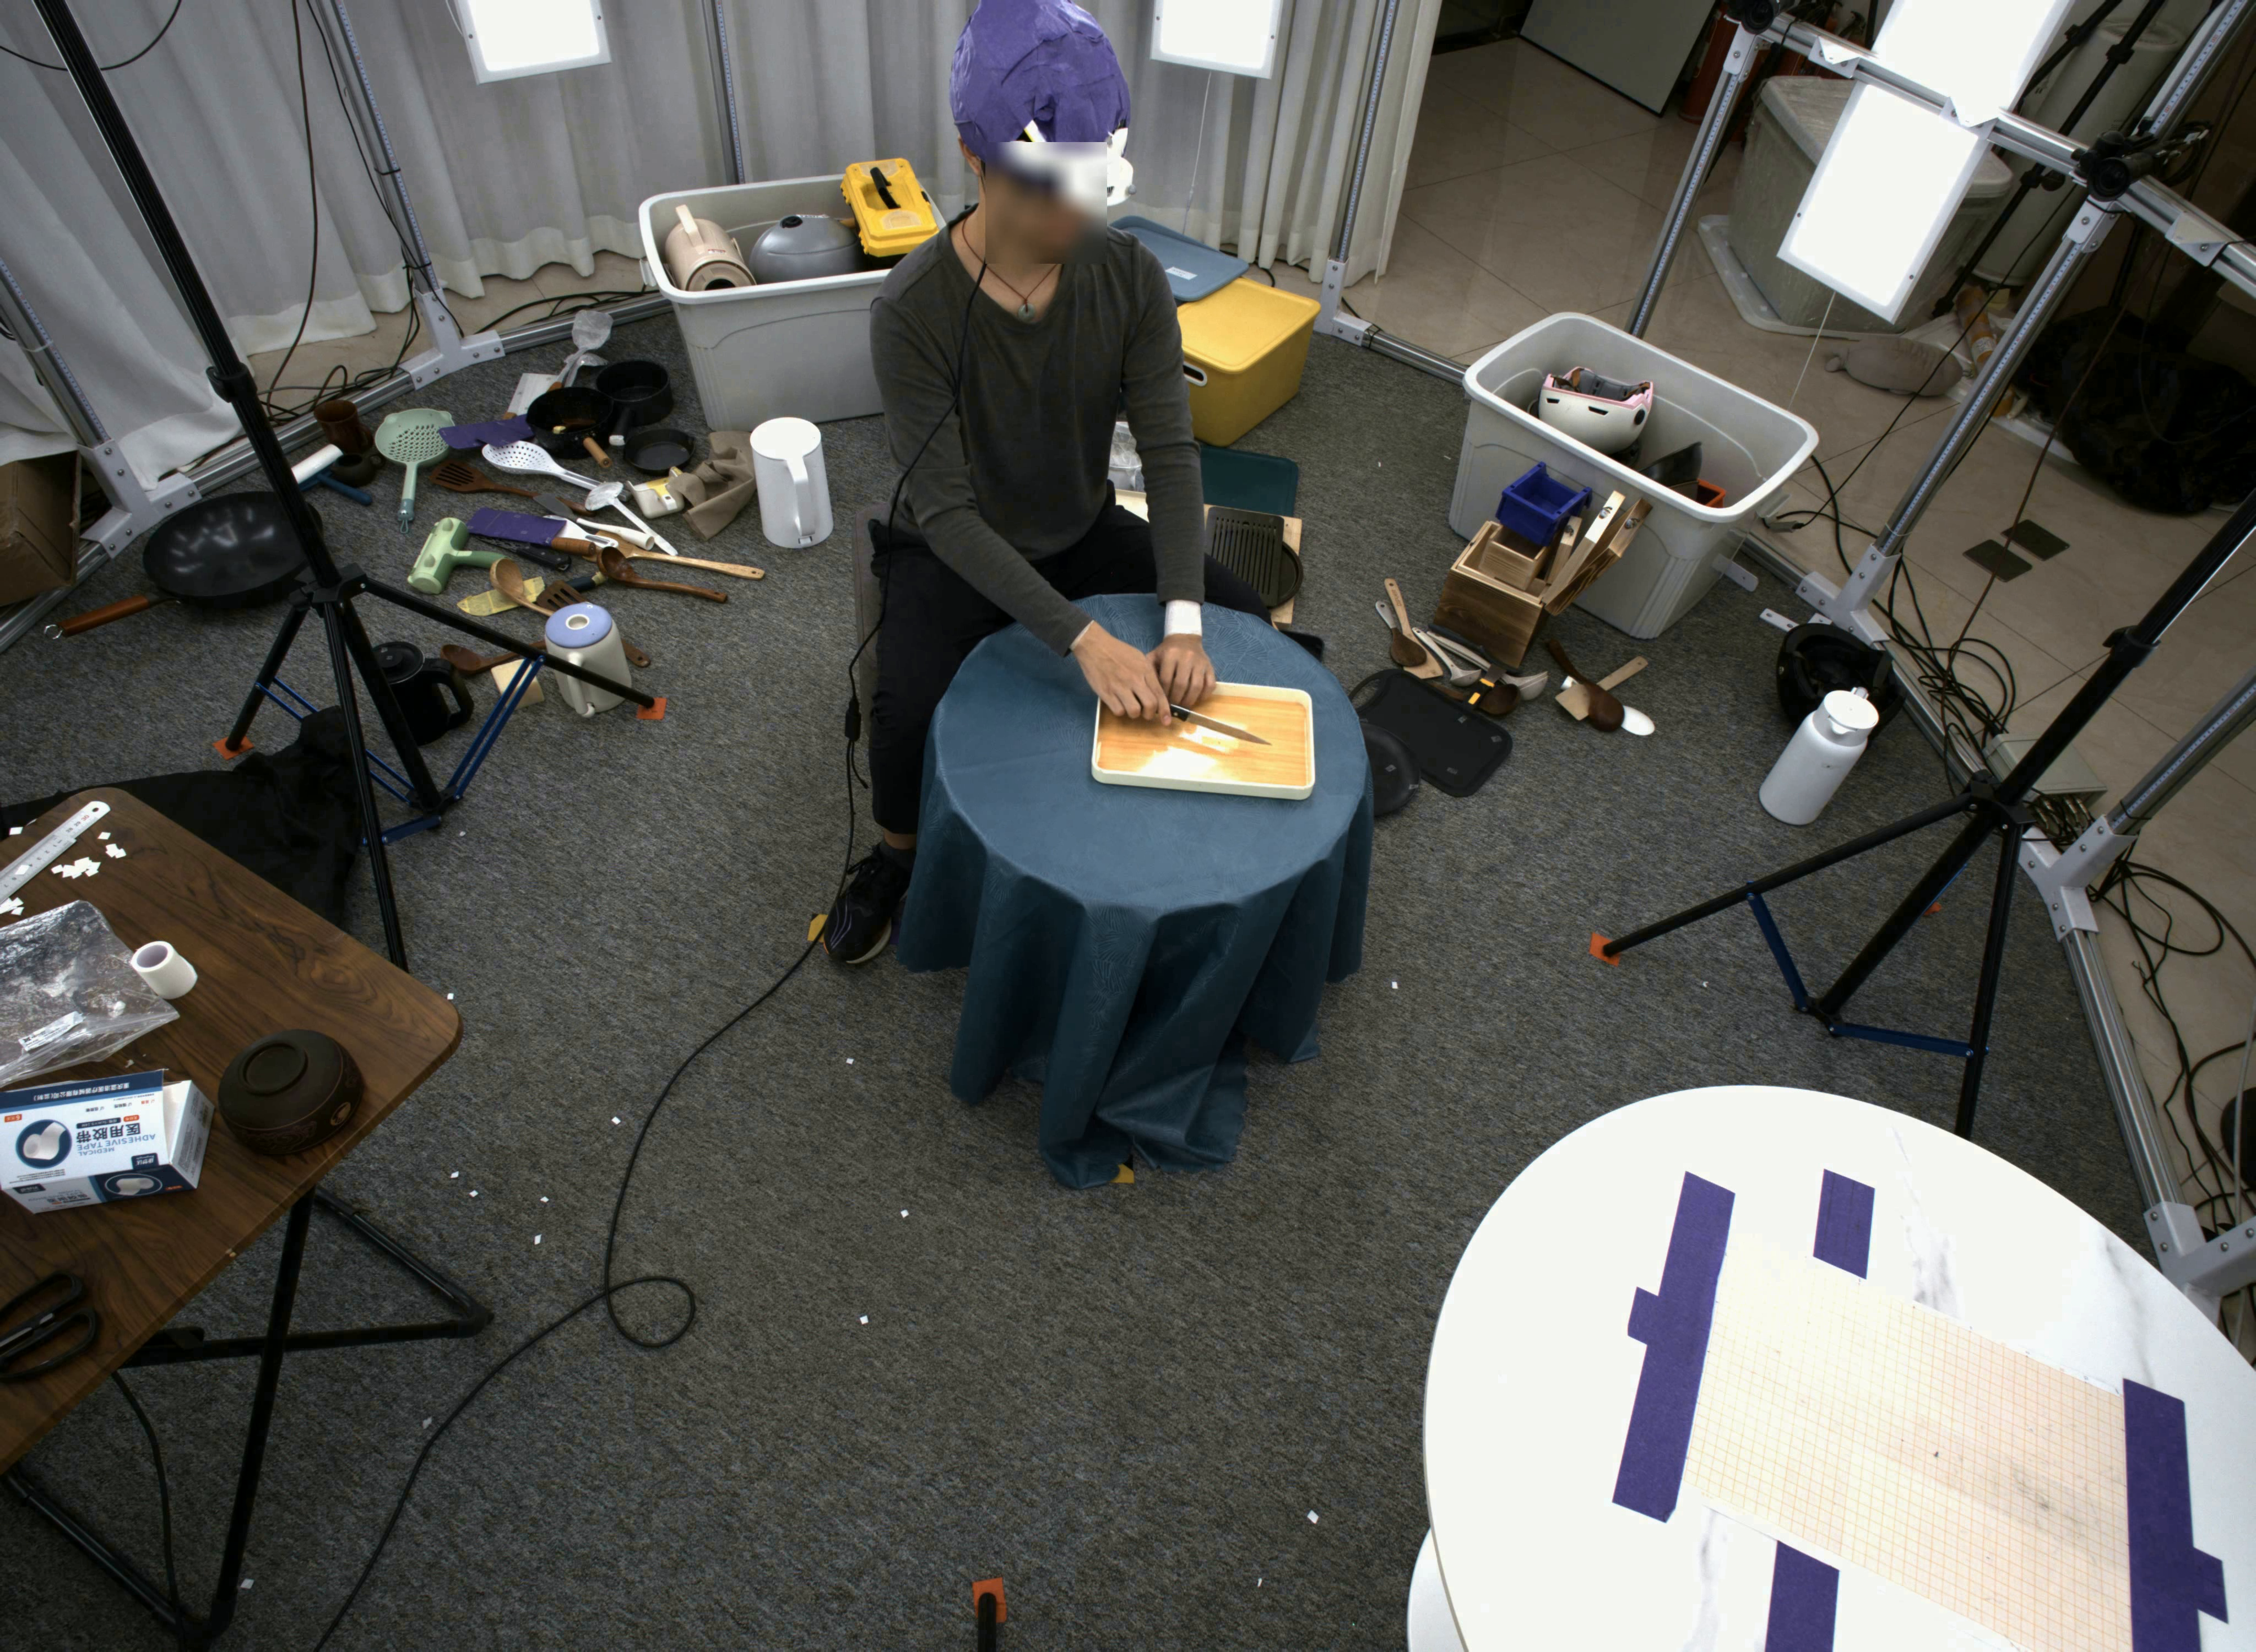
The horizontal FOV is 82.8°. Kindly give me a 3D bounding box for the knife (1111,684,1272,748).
[{"bbox_3d":[0.087,-0.150,1.757,0.239,0.024,0.016,21,49,12],"label":"knife"}]

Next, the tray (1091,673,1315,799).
[{"bbox_3d":[0.104,-0.126,1.767,0.300,0.027,0.196,5,48,0],"label":"tray"}]
